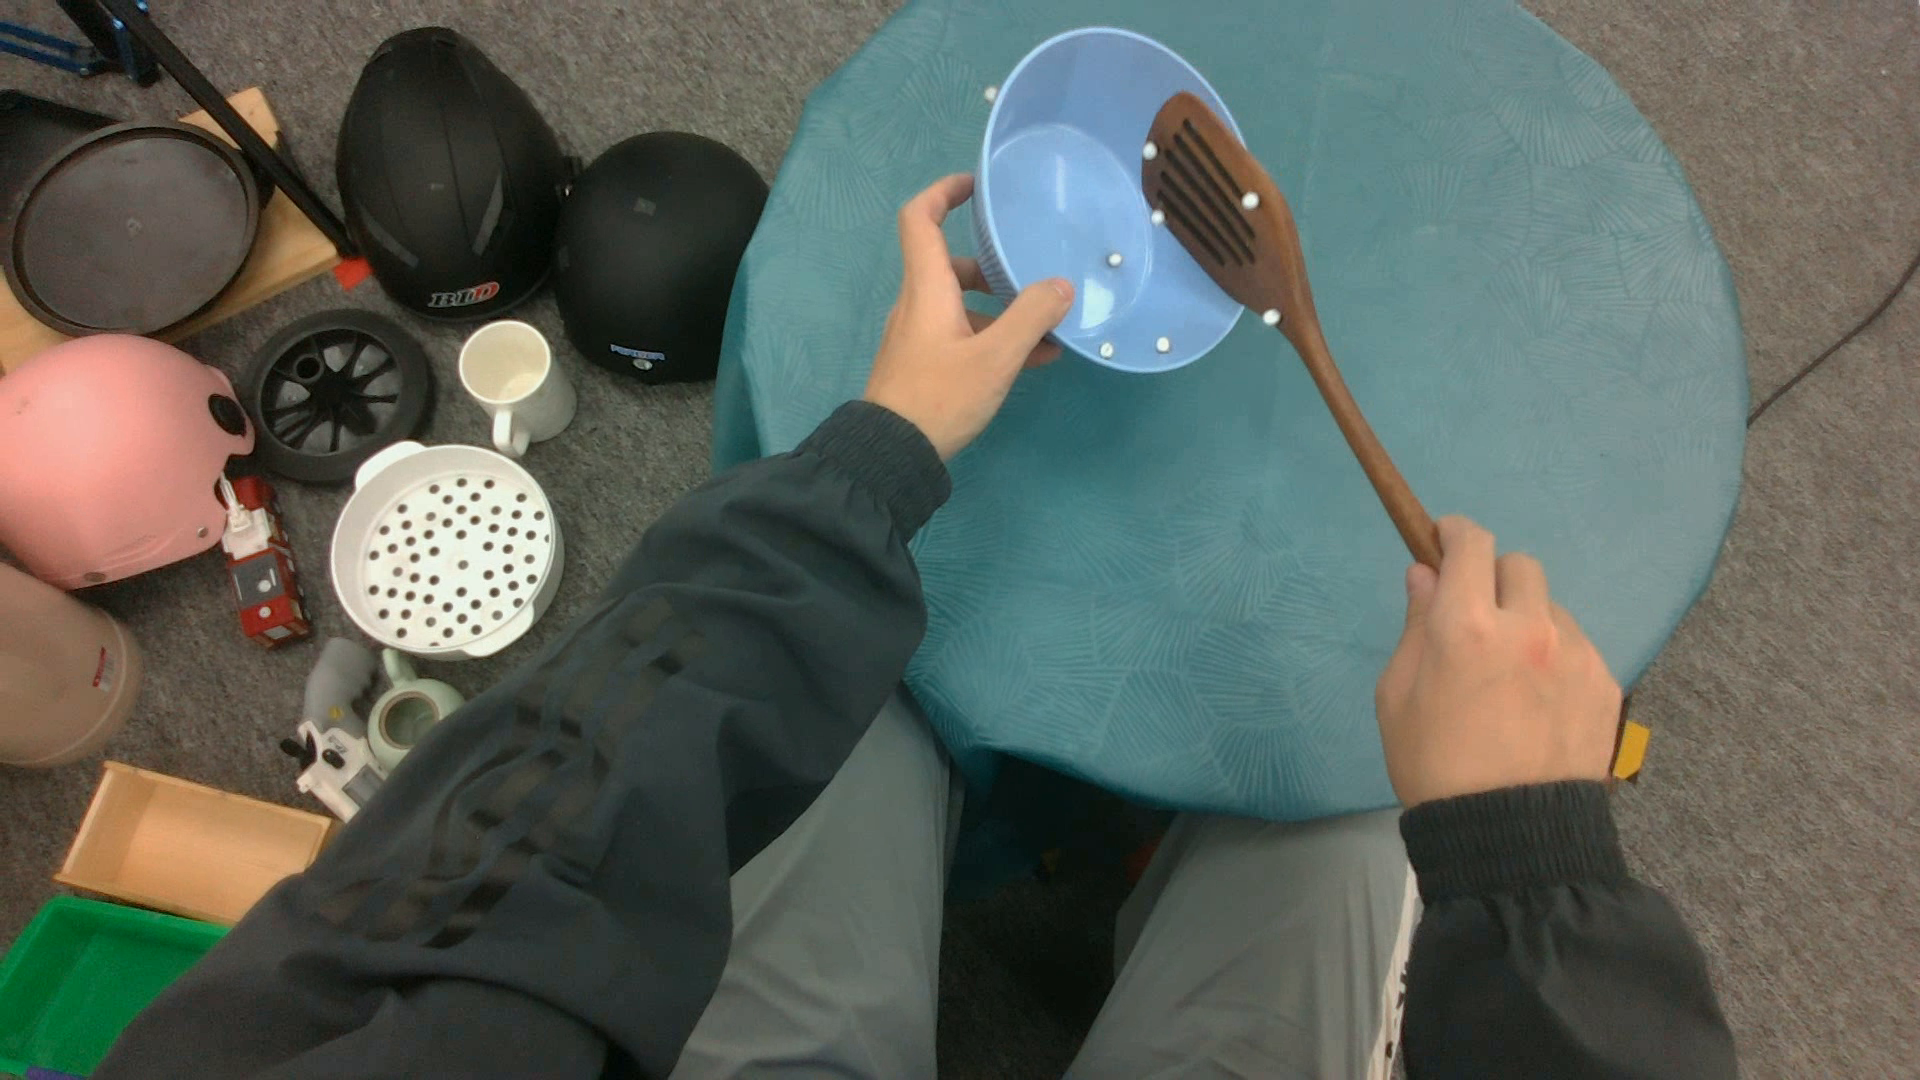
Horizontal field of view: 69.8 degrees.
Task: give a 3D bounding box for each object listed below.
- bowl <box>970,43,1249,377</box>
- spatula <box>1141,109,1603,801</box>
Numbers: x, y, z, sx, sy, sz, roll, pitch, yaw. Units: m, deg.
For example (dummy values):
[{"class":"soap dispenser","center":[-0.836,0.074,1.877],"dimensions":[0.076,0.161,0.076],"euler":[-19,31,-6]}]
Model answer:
[{"class":"bowl","center":[0.072,-0.170,0.745],"dimensions":[0.176,0.070,0.176],"euler":[2,85,-30]},{"class":"spatula","center":[0.192,-0.050,0.663],"dimensions":[0.024,0.085,0.387],"euler":[-22,70,-15]}]
